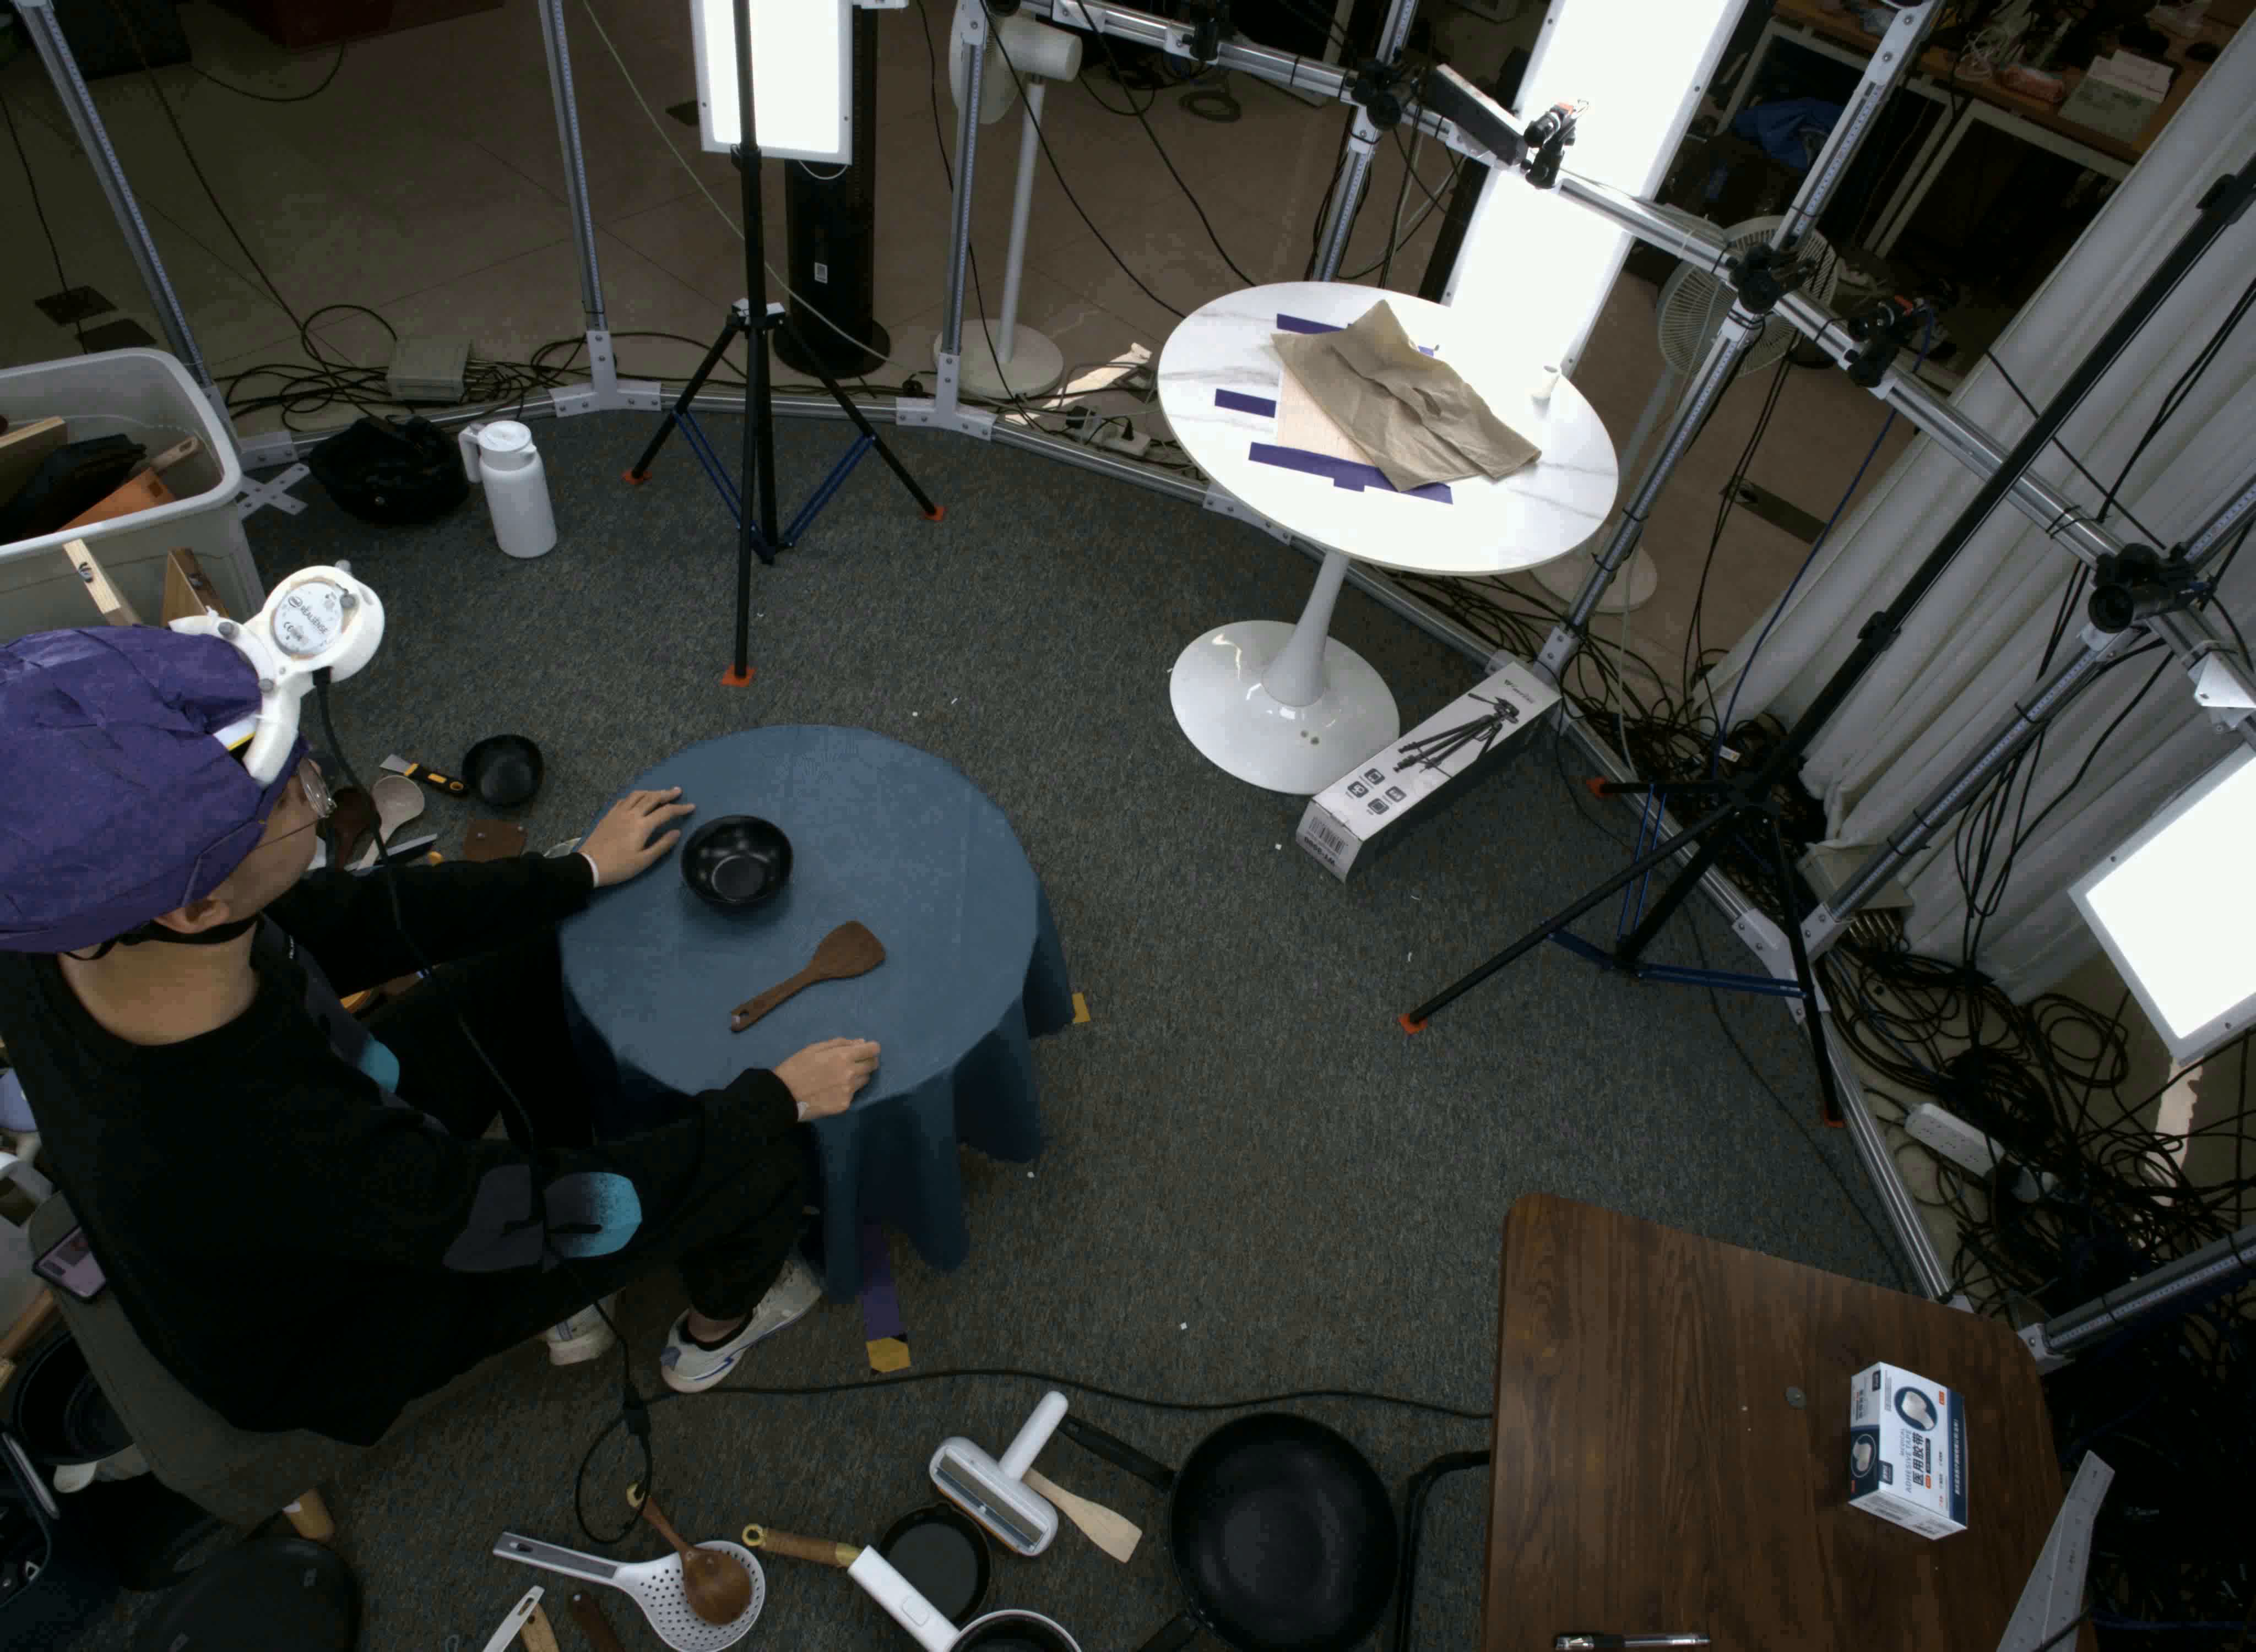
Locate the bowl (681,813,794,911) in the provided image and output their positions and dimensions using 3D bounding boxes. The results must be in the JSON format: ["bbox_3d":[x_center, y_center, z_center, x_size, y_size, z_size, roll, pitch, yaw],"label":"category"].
[{"bbox_3d":[-0.495,0.053,1.641,0.140,0.050,0.137,8,54,-10],"label":"bowl"}]

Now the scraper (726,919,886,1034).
[{"bbox_3d":[-0.399,0.187,1.591,0.212,0.011,0.074,-33,67,-31],"label":"scraper"}]
